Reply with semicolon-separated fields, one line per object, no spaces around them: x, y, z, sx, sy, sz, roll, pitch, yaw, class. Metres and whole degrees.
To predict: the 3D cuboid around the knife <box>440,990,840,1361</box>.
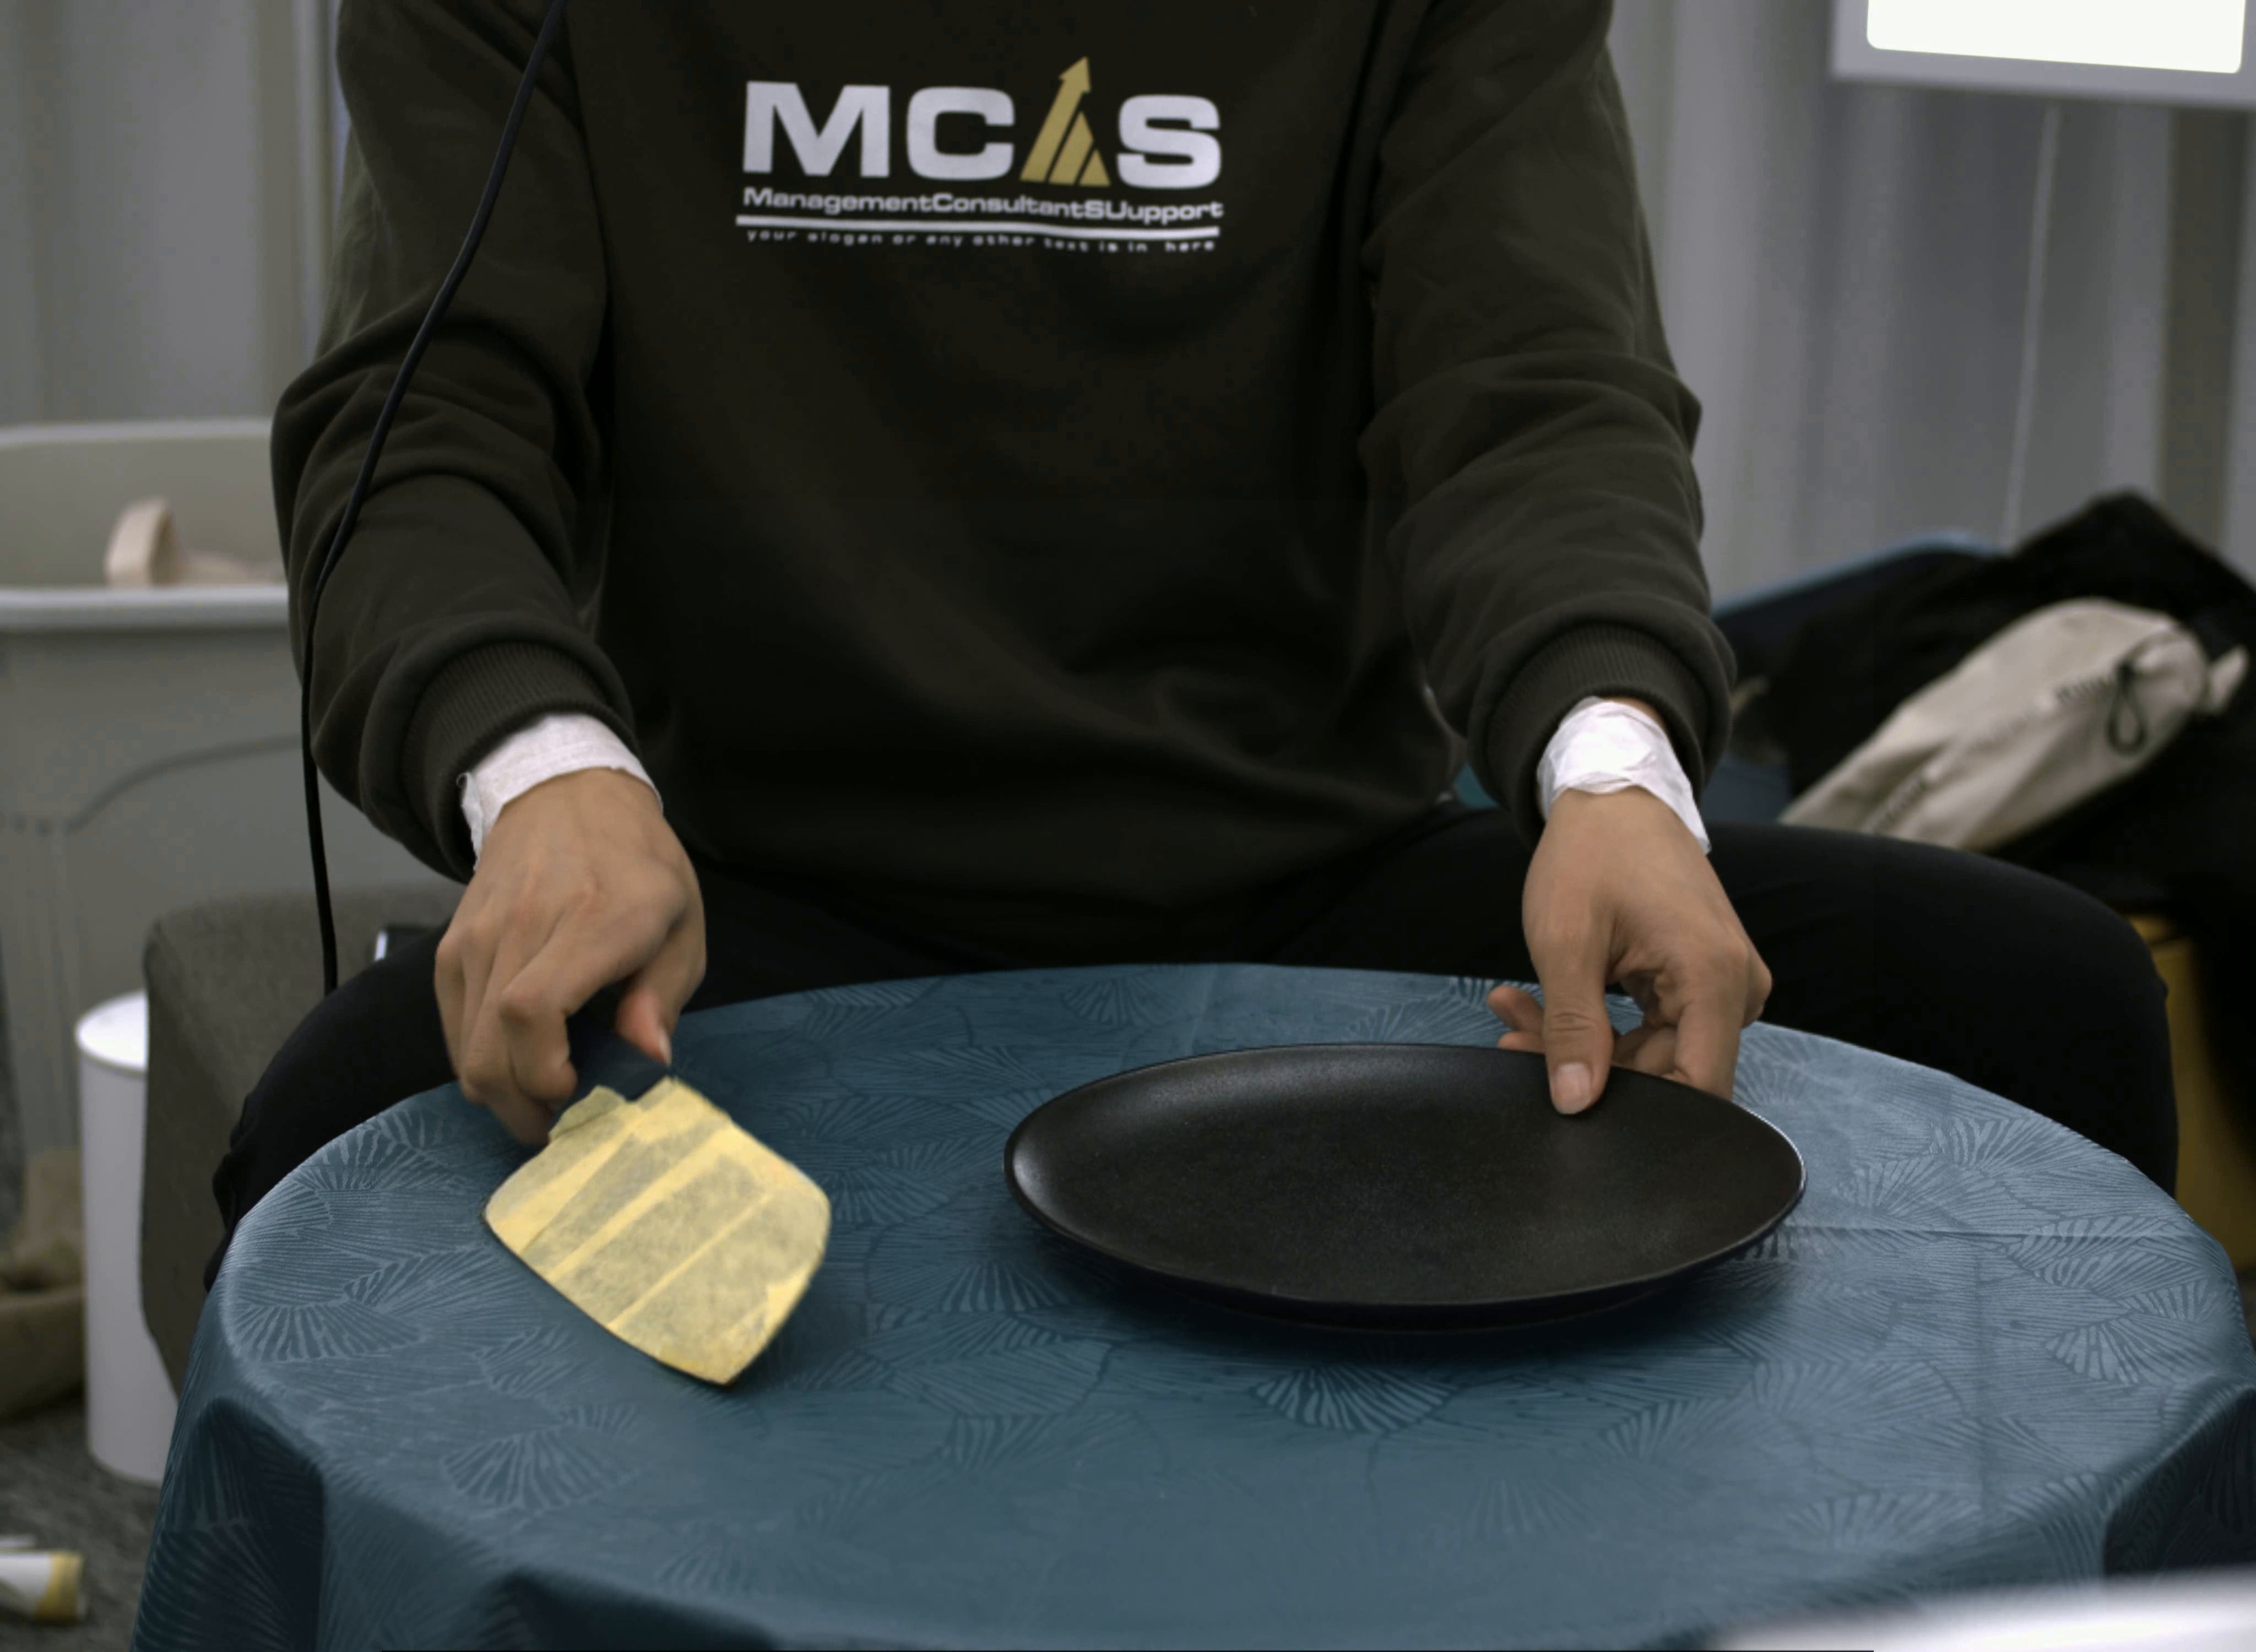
-0.160;0.103;1.581;0.081;0.027;0.286;-32;27;-15;knife

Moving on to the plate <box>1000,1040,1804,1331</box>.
0.082;0.111;1.590;0.243;0.023;0.243;1;15;0;plate
